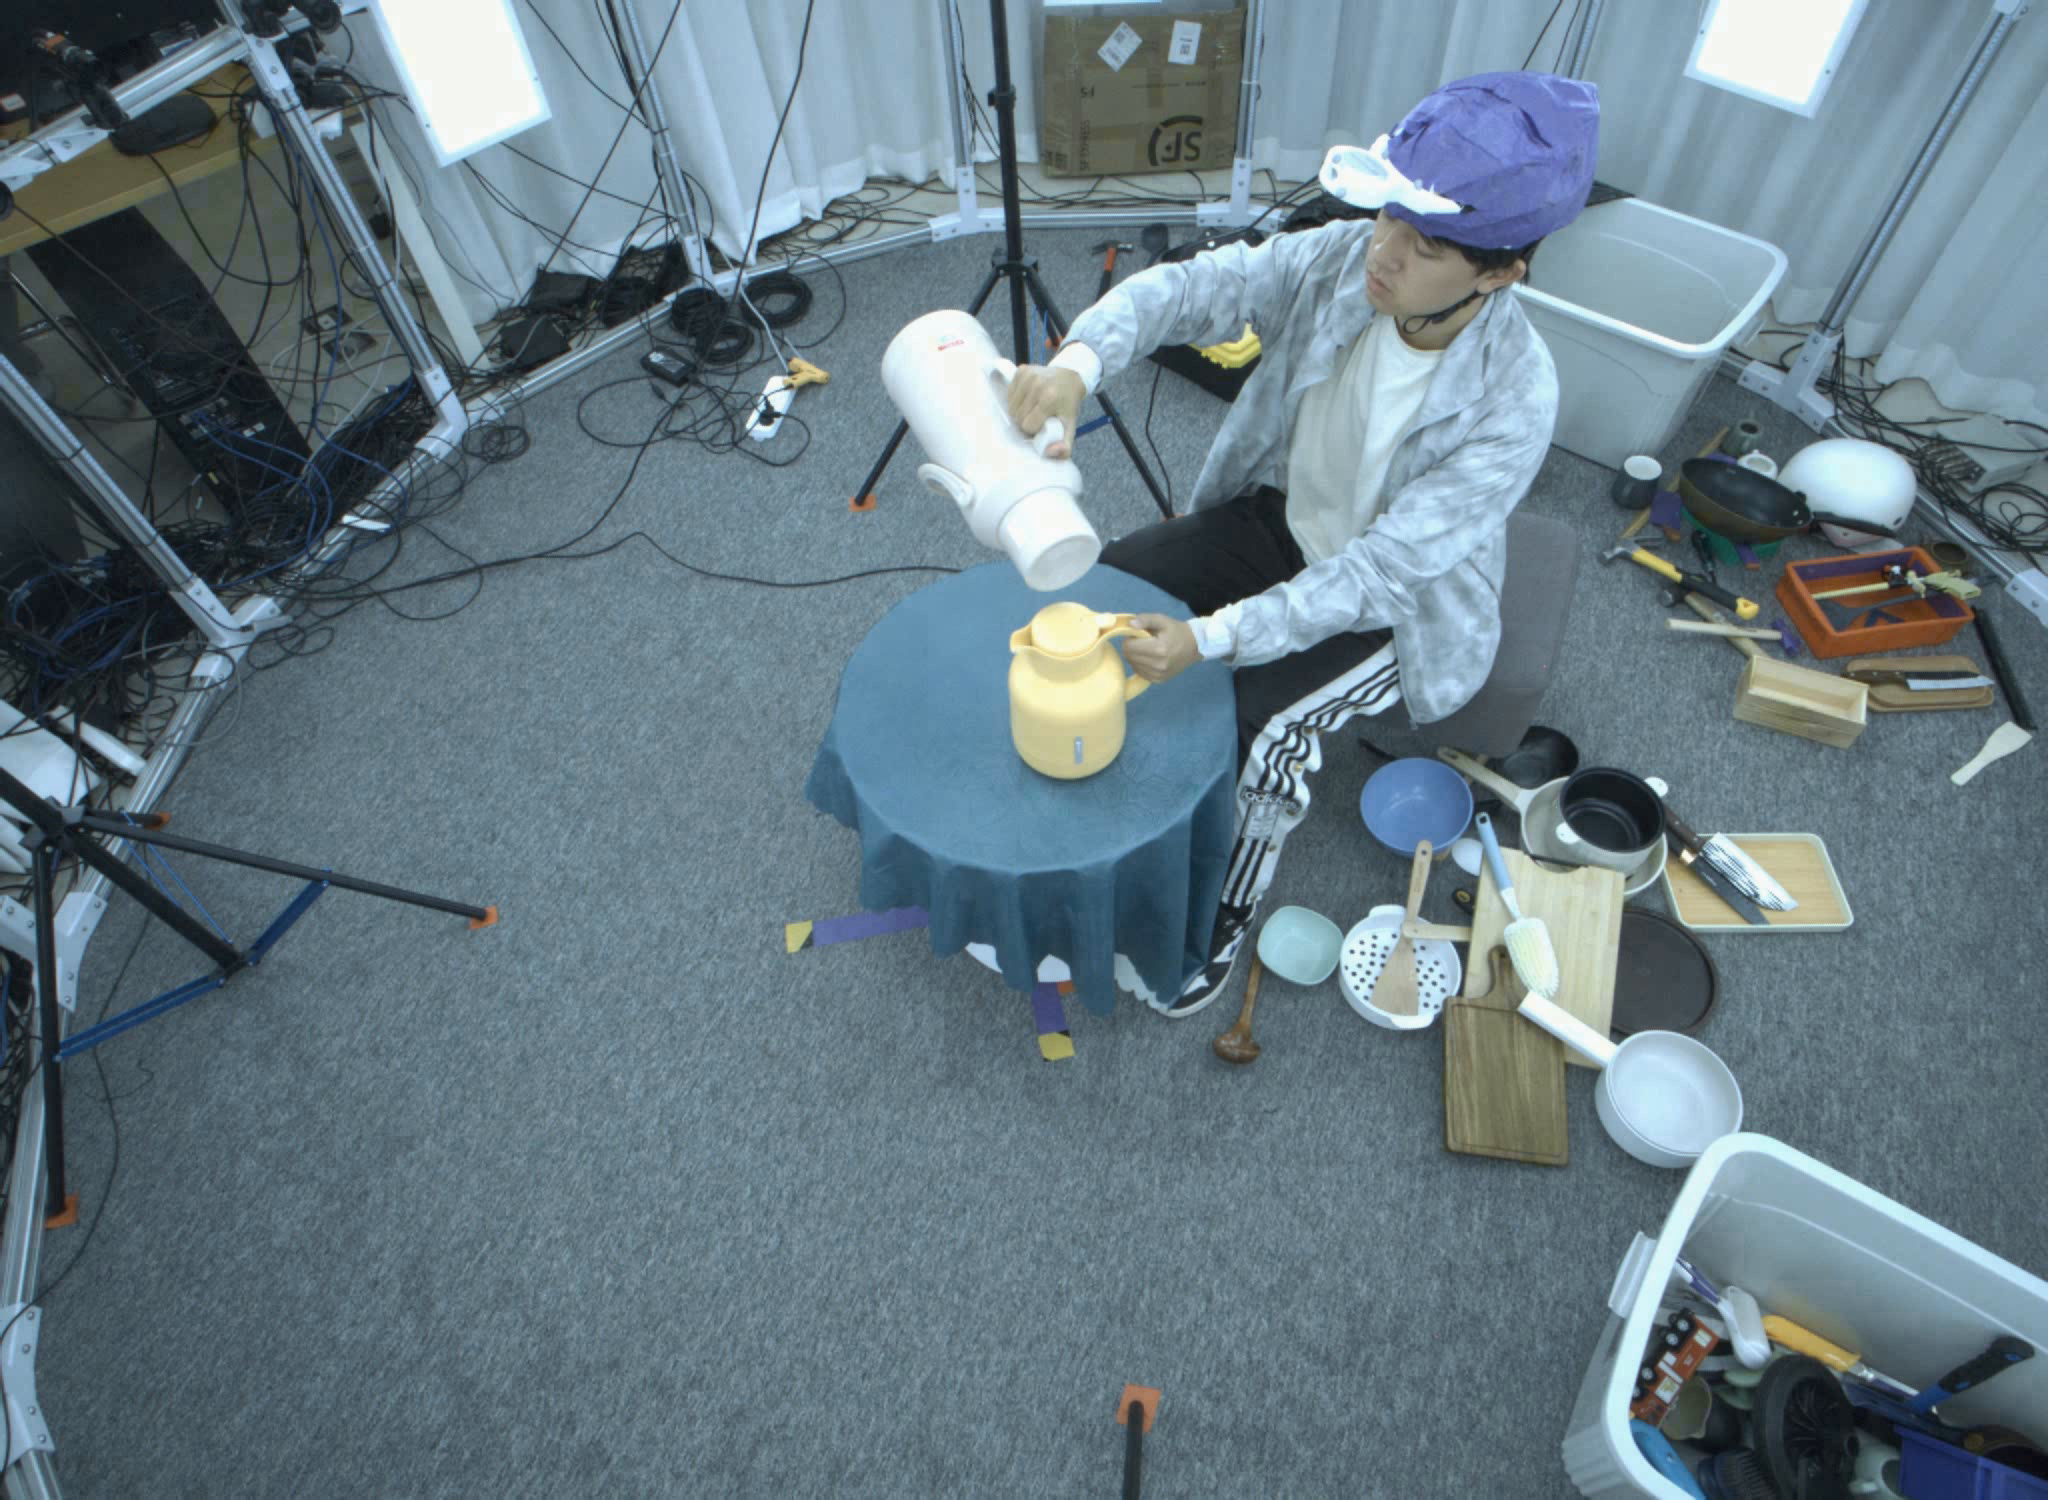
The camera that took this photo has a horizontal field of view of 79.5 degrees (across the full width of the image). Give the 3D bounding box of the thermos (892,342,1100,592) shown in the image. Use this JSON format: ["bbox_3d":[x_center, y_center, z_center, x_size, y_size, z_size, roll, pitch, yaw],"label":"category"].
[{"bbox_3d":[-0.032,-0.396,1.588,0.178,0.206,0.400,-10,59,-32],"label":"thermos"}]

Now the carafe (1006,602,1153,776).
[{"bbox_3d":[0.077,-0.091,1.691,0.203,0.263,0.161,-10,57,-3],"label":"carafe"}]
